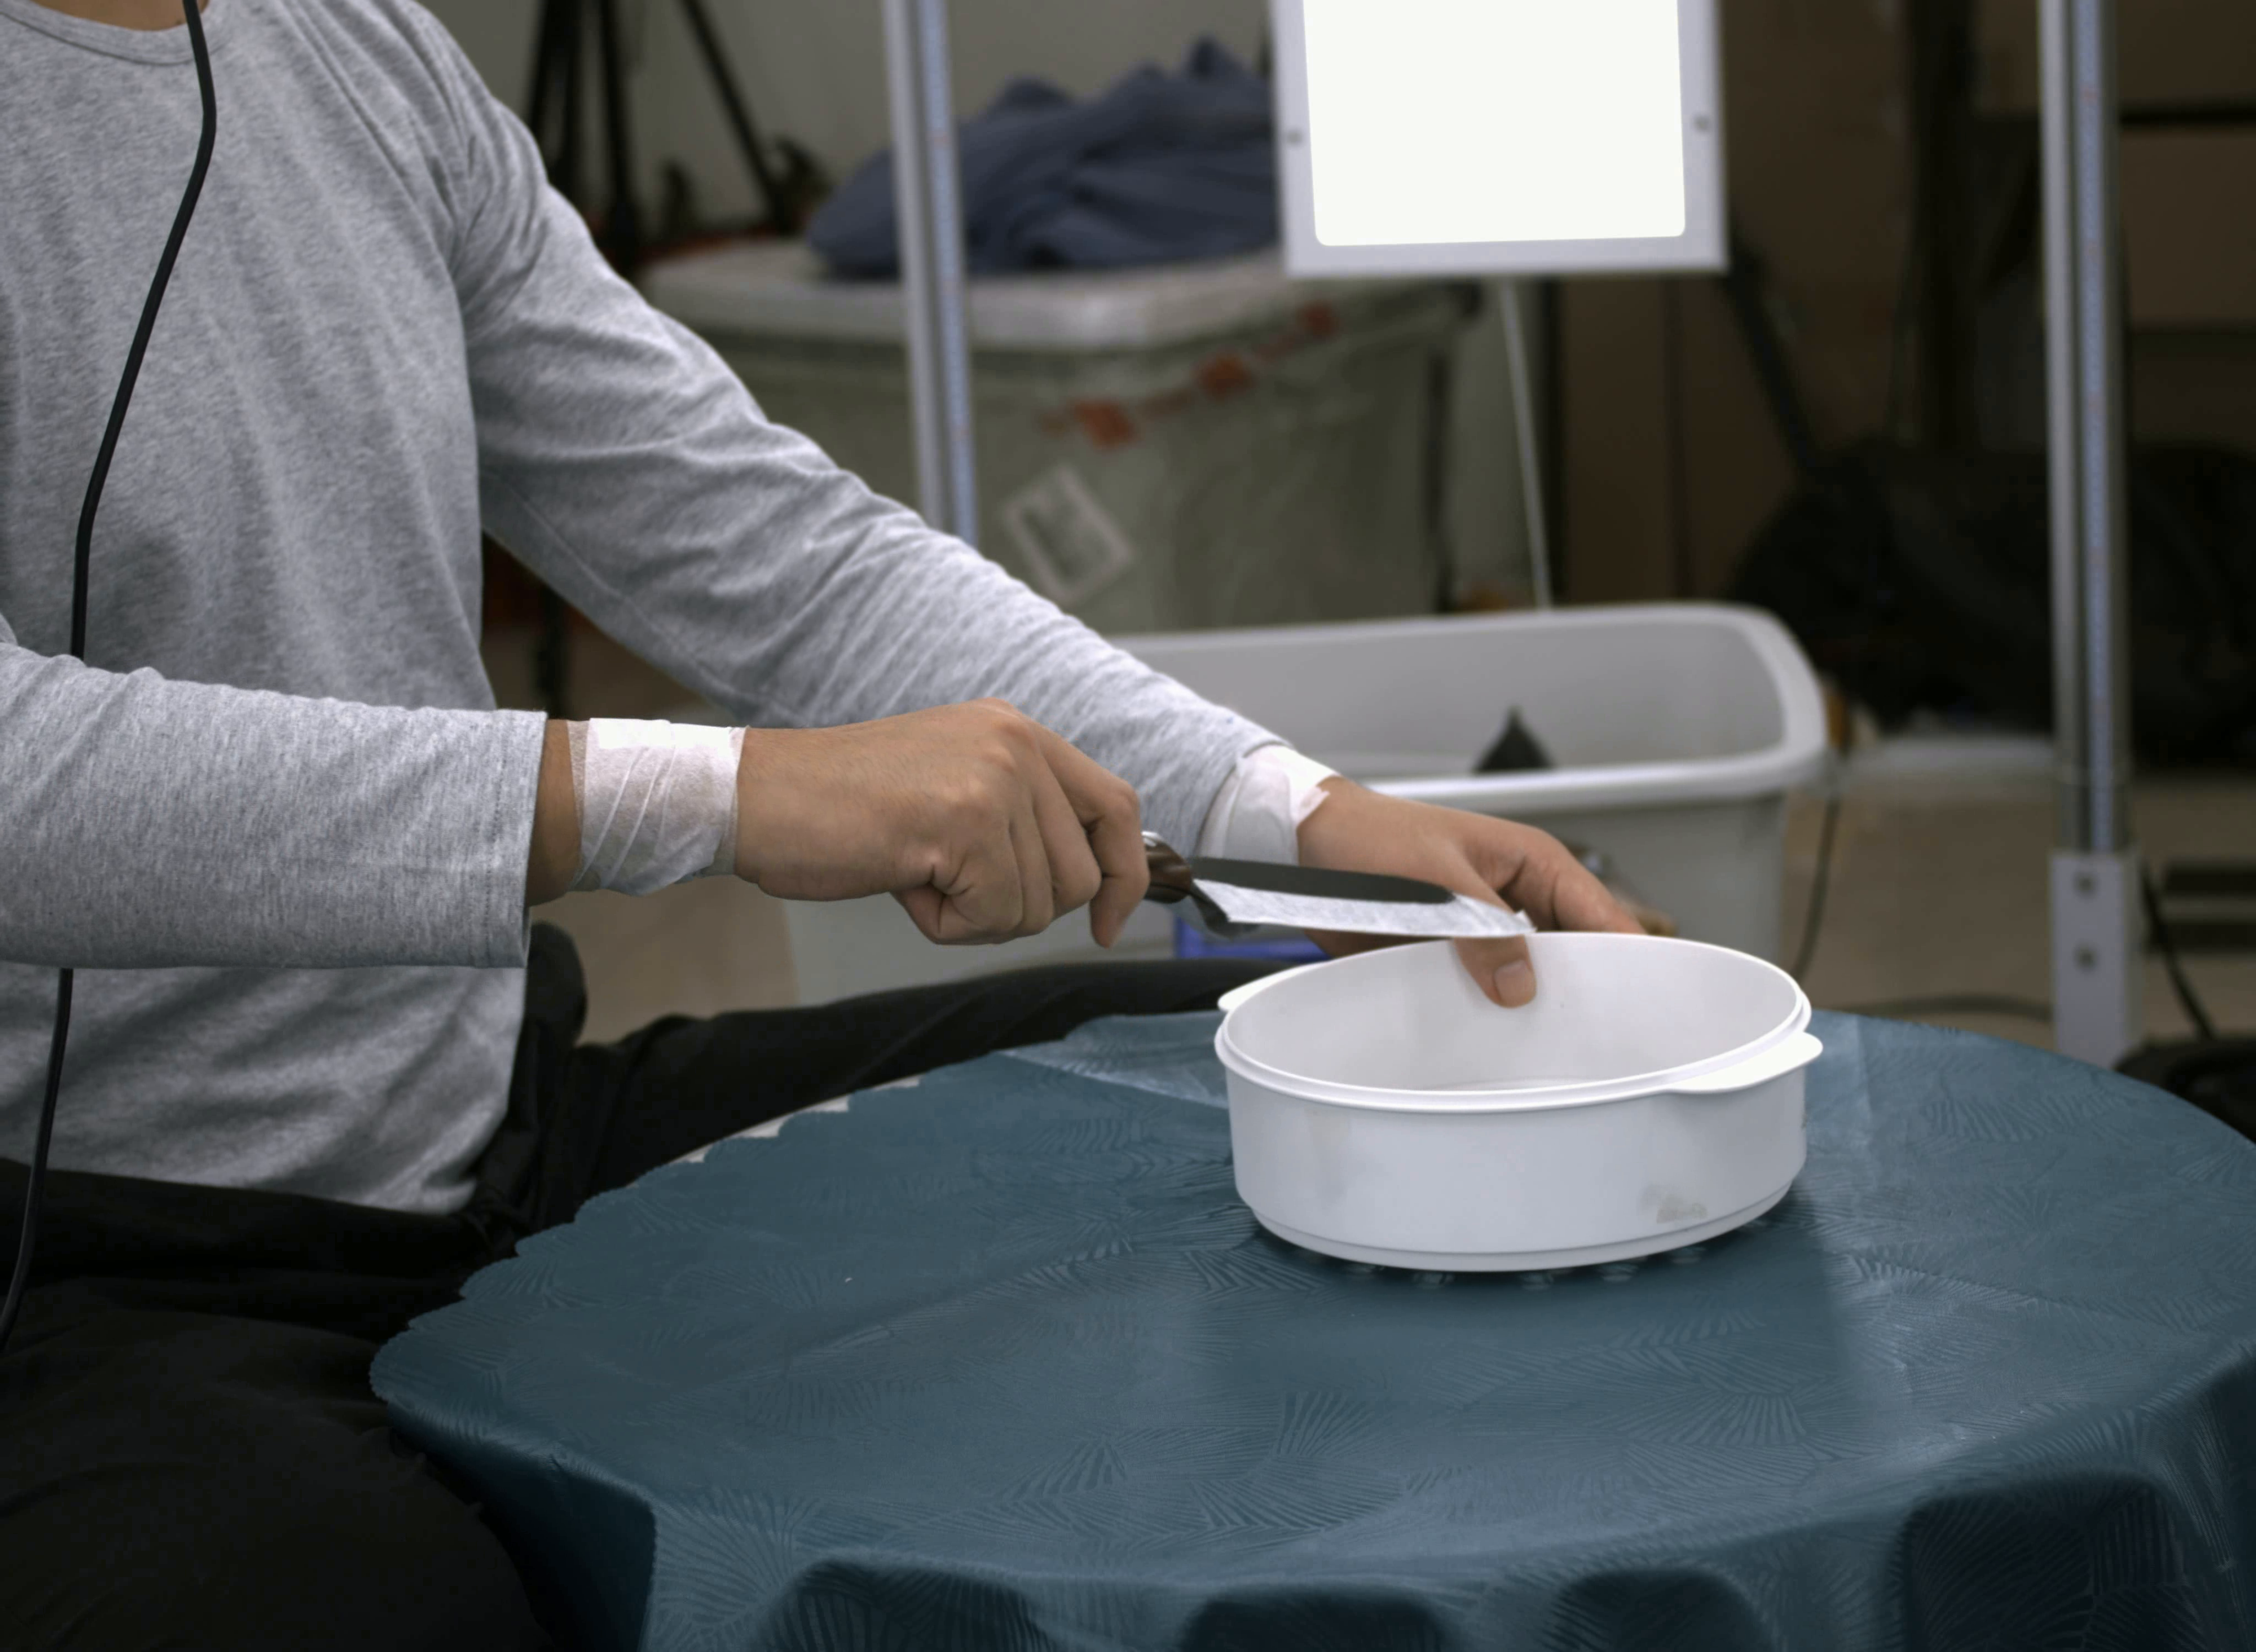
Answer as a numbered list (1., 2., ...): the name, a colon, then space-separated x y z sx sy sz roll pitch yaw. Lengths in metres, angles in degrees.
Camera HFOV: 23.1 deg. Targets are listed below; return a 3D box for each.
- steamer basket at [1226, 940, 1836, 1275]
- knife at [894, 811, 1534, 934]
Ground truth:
1. steamer basket: 0.135 0.094 1.846 0.235 0.069 0.197 7 18 44
2. knife: 0.035 0.019 1.819 0.282 0.020 0.051 7 28 -42
